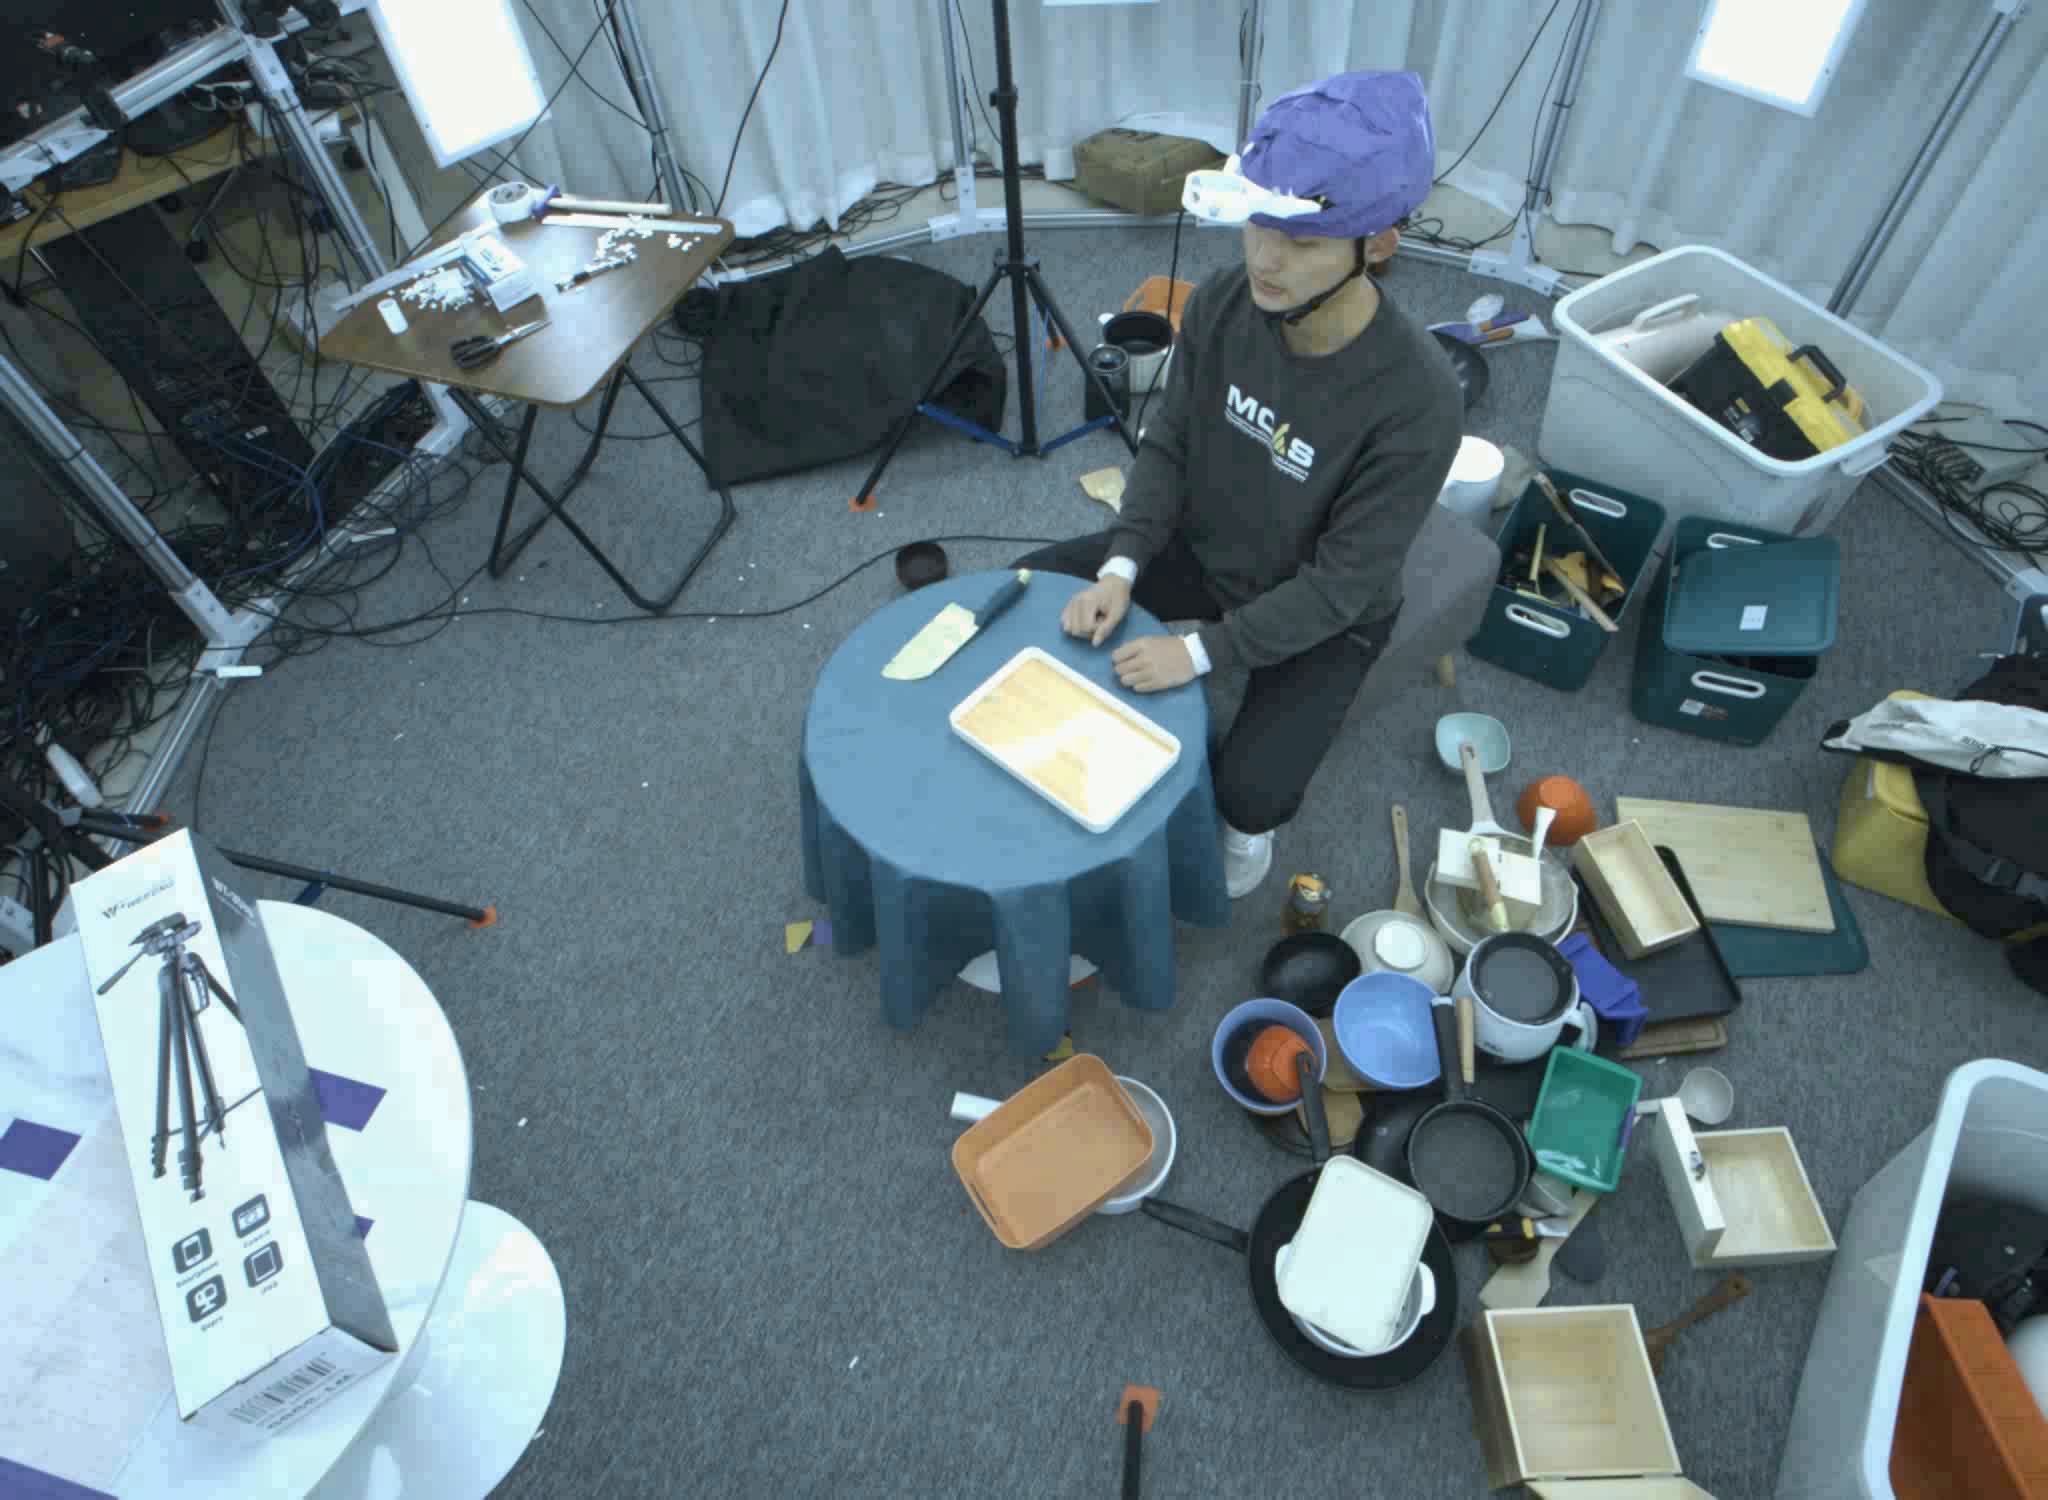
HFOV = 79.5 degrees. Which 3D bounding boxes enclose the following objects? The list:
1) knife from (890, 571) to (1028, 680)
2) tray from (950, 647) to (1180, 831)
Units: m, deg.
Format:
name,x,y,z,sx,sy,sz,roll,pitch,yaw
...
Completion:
name,x,y,z,sx,sy,sz,roll,pitch,yaw
knife,-0.103,-0.200,1.932,0.079,0.027,0.291,37,64,23
tray,0.058,-0.022,1.793,0.295,0.027,0.193,36,62,23
